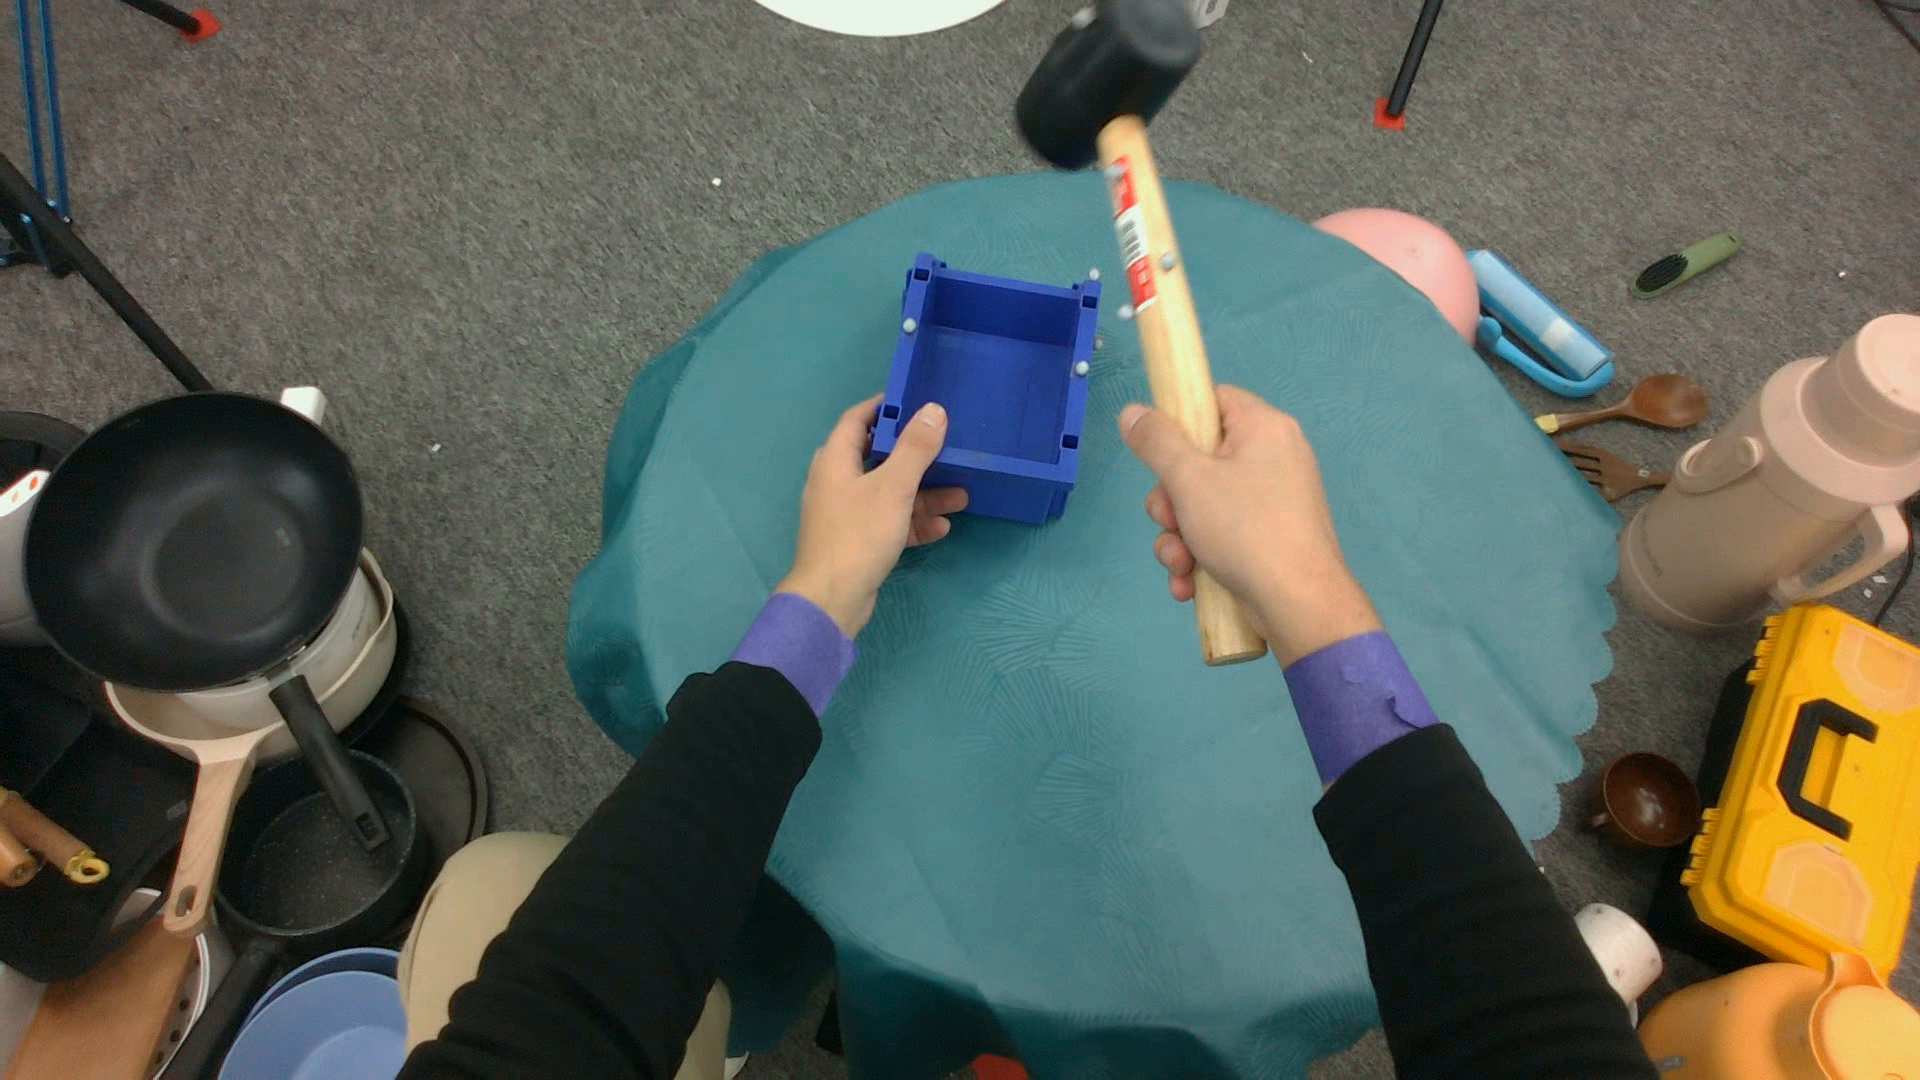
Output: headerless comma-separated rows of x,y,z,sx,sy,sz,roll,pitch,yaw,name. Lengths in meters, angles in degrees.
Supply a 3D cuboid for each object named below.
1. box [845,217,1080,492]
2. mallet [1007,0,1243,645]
0.002,-0.124,0.874,0.124,0.081,0.180,10,66,1,box
0.085,-0.119,0.666,0.064,0.101,0.339,1,76,-28,mallet
